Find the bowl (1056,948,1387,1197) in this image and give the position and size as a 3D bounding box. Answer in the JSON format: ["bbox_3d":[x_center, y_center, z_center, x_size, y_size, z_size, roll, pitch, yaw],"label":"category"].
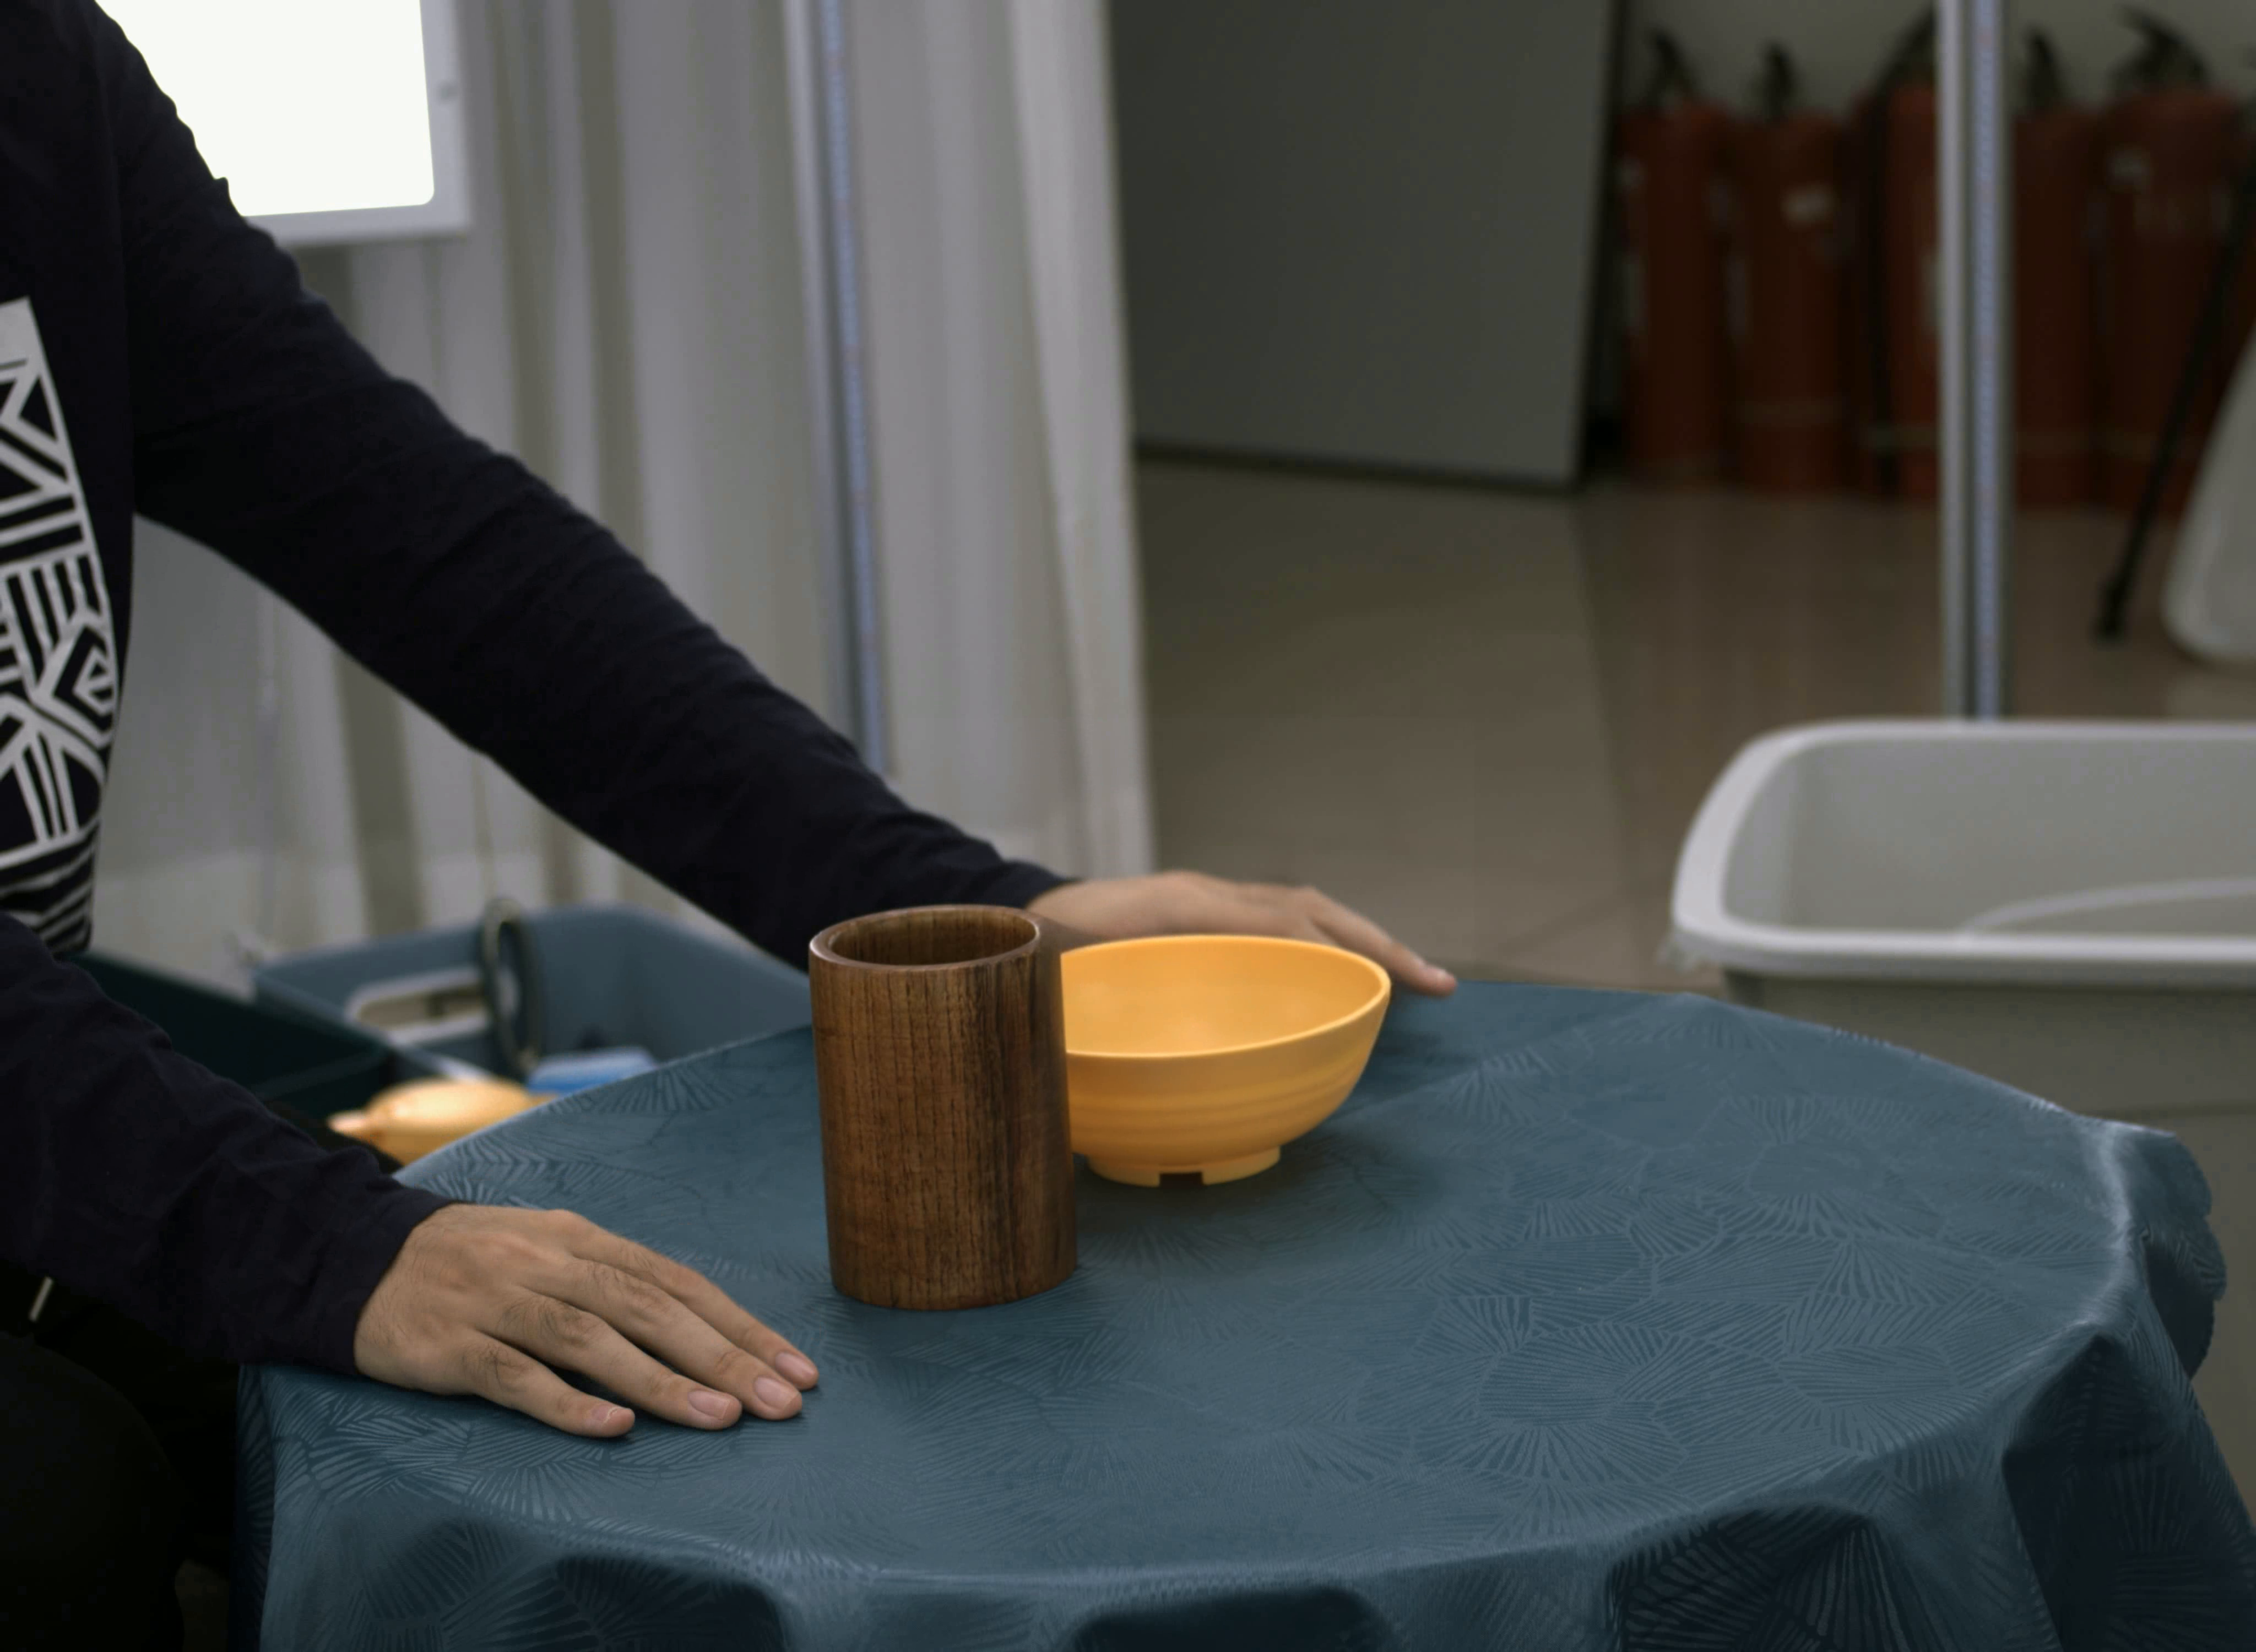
[{"bbox_3d":[0.018,0.086,1.797,0.143,0.061,0.145,-5,12,0],"label":"bowl"}]

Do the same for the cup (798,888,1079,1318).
[{"bbox_3d":[-0.059,0.086,1.692,0.086,0.120,0.088,-4,11,0],"label":"cup"}]
